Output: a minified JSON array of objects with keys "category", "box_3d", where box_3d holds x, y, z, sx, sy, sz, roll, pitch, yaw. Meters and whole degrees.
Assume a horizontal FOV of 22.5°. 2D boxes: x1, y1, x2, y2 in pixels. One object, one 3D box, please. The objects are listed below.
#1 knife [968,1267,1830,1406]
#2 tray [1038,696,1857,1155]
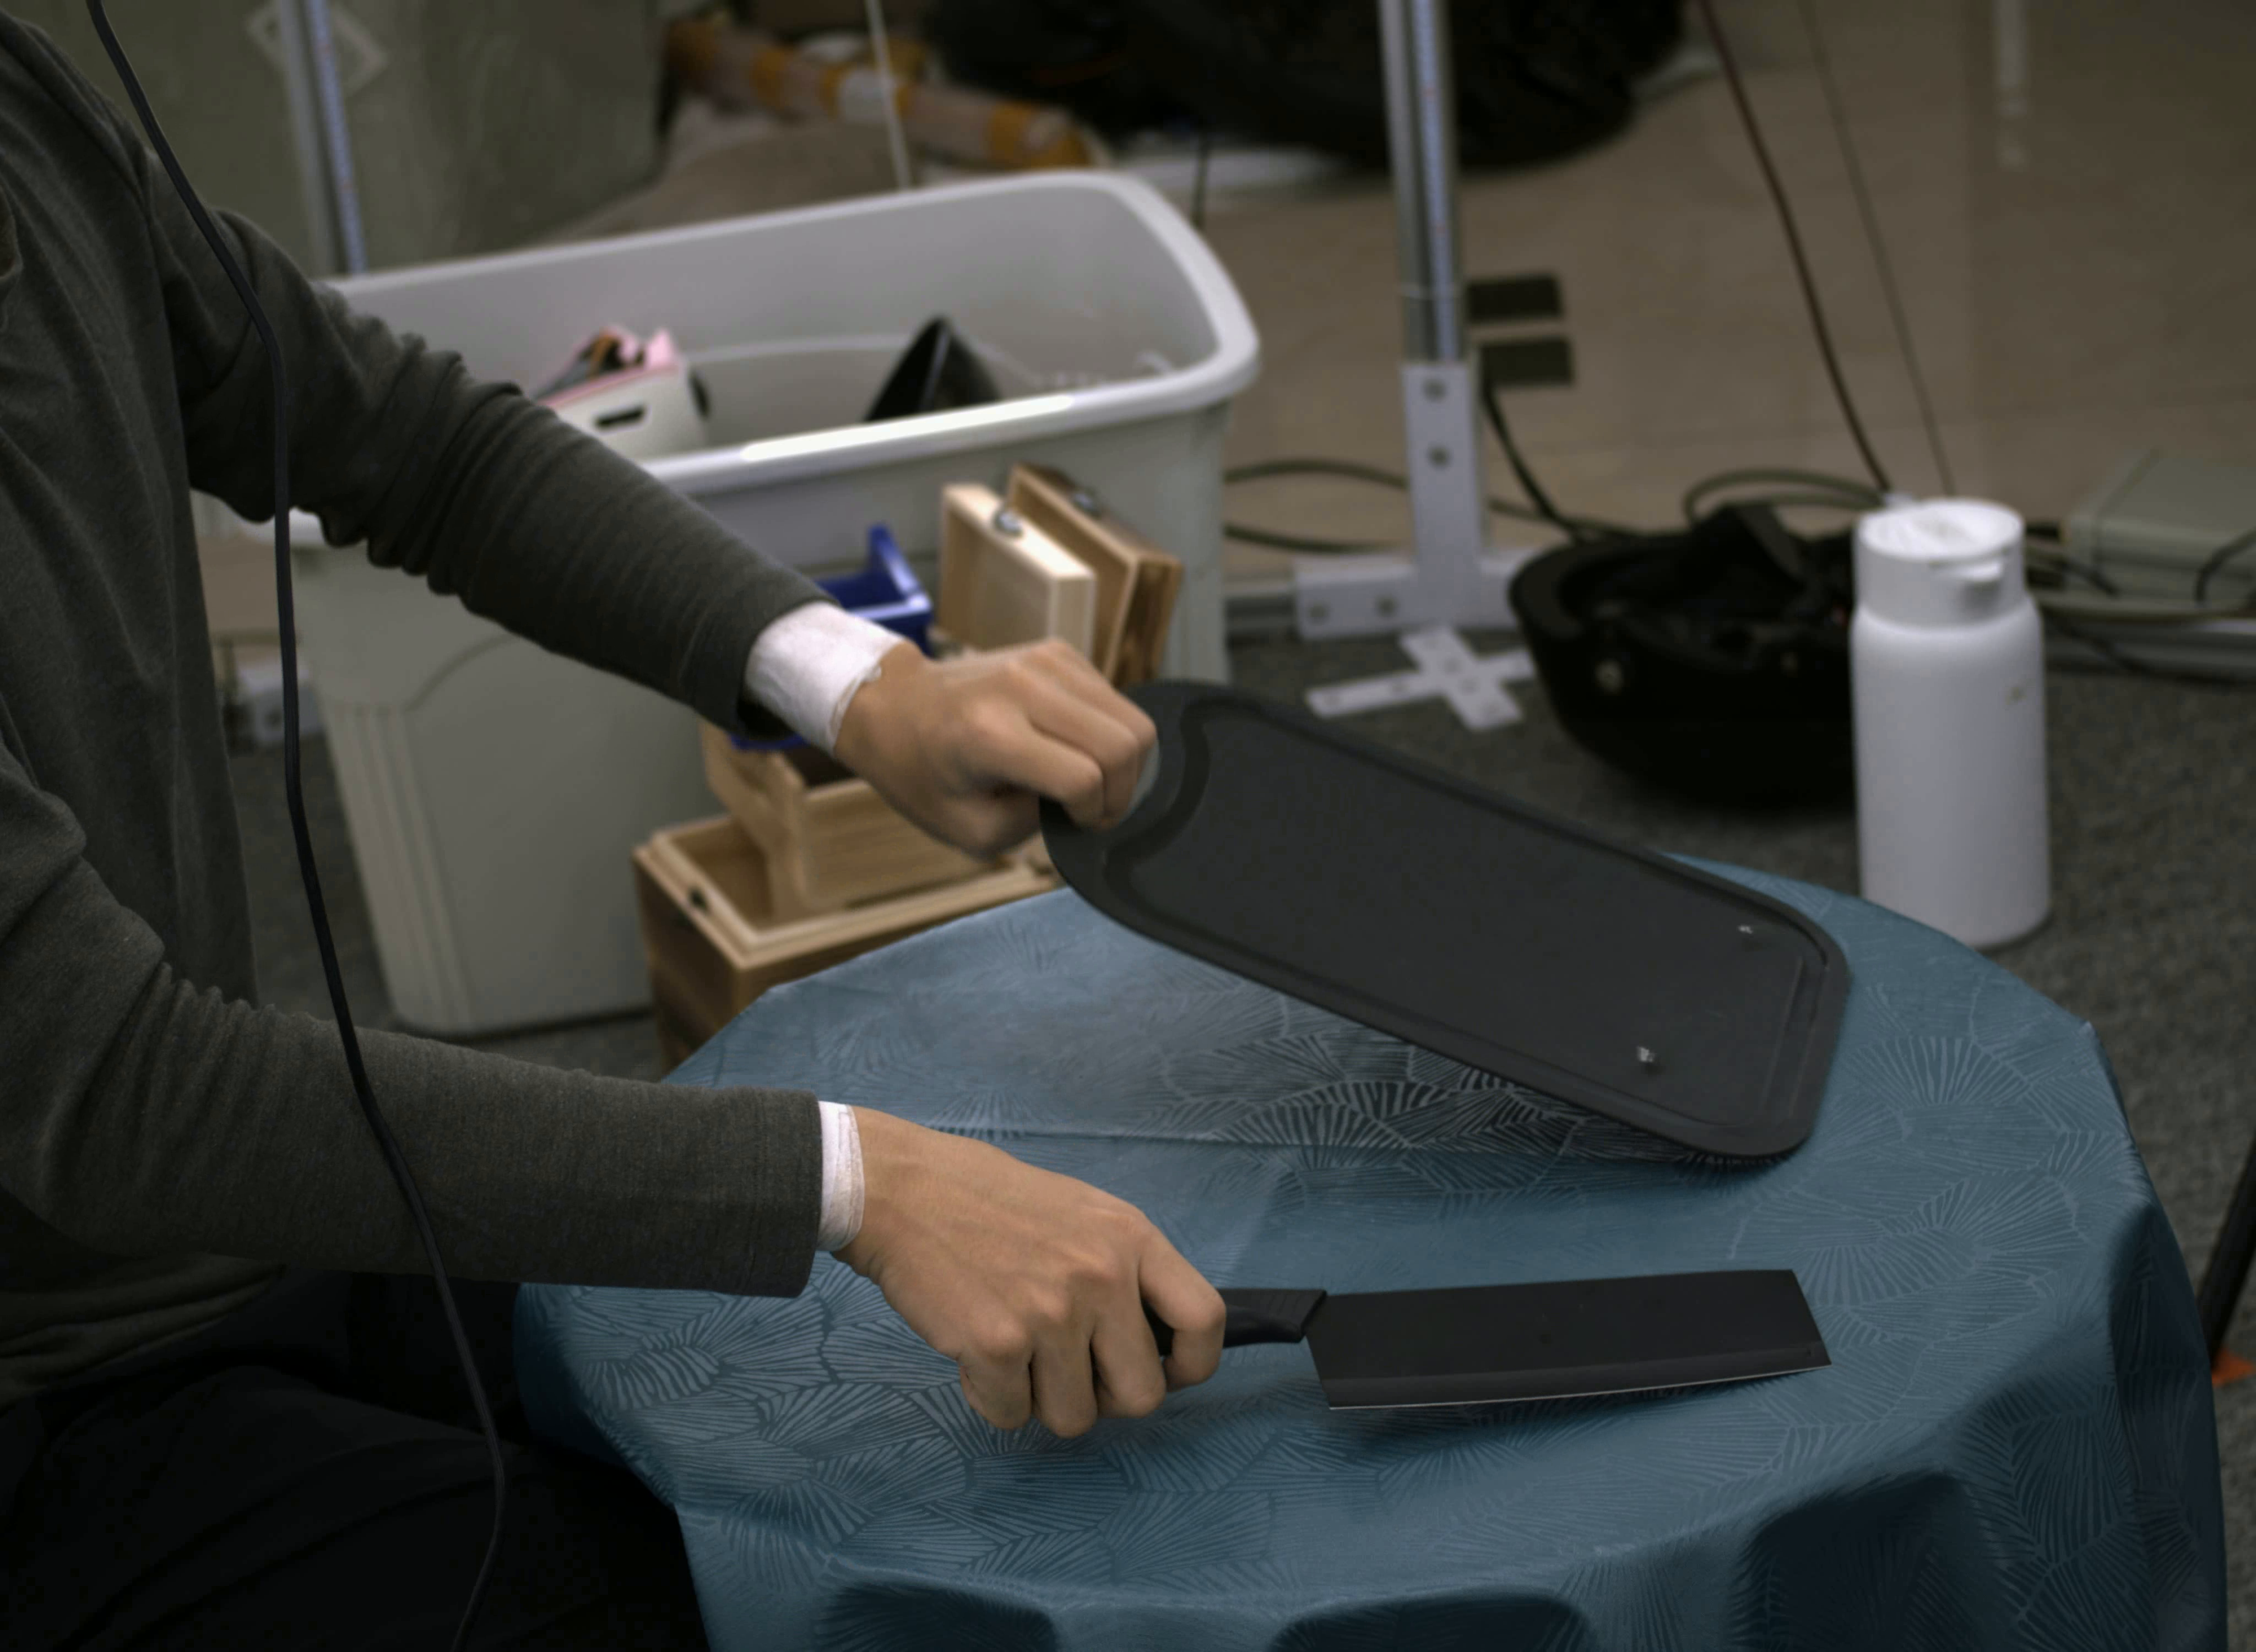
[{"category":"knife","box_3d":[0.094,0.181,1.990,0.302,0.021,0.079,-1,30,-4]},{"category":"tray","box_3d":[0.122,0.032,2.197,0.324,0.010,0.208,21,29,4]}]
